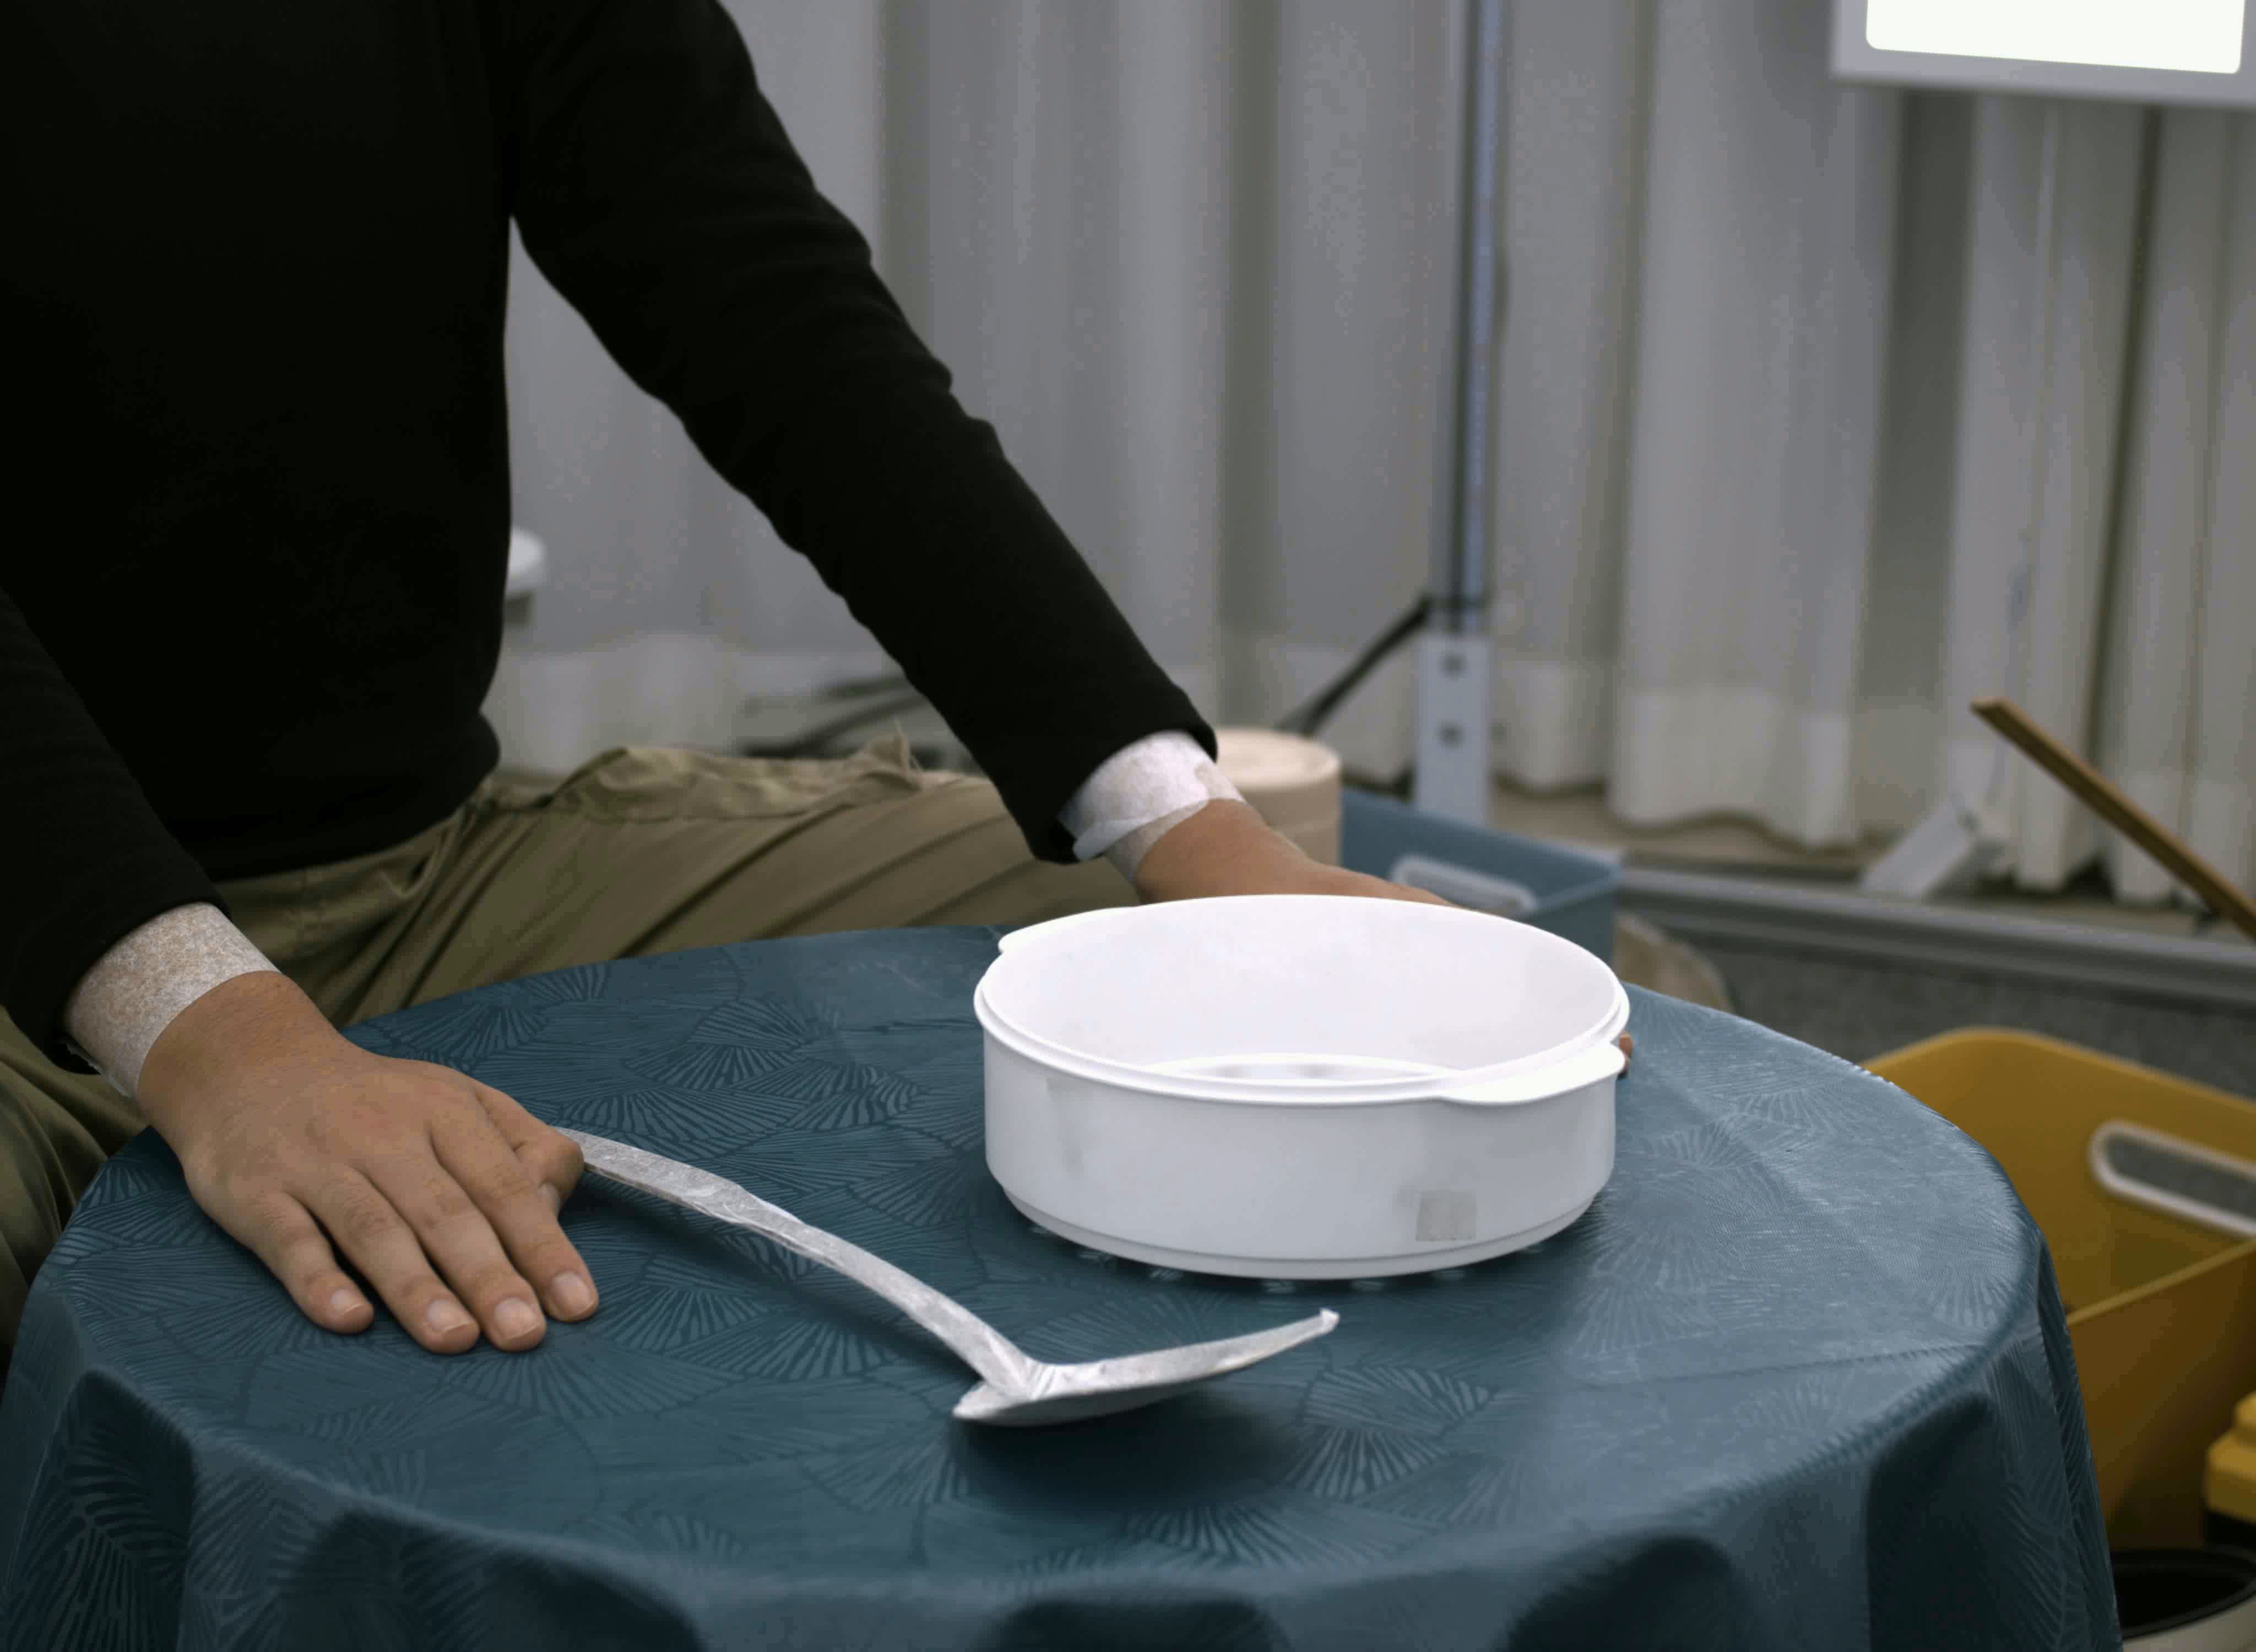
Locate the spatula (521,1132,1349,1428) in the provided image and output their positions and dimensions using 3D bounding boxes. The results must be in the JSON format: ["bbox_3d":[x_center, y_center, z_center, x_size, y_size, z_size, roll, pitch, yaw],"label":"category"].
[{"bbox_3d":[-0.080,0.120,1.518,0.099,0.045,0.360,-14,21,-37],"label":"spatula"}]

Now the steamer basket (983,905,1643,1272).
[{"bbox_3d":[0.056,0.080,1.609,0.203,0.070,0.227,-12,18,-41],"label":"steamer basket"}]
